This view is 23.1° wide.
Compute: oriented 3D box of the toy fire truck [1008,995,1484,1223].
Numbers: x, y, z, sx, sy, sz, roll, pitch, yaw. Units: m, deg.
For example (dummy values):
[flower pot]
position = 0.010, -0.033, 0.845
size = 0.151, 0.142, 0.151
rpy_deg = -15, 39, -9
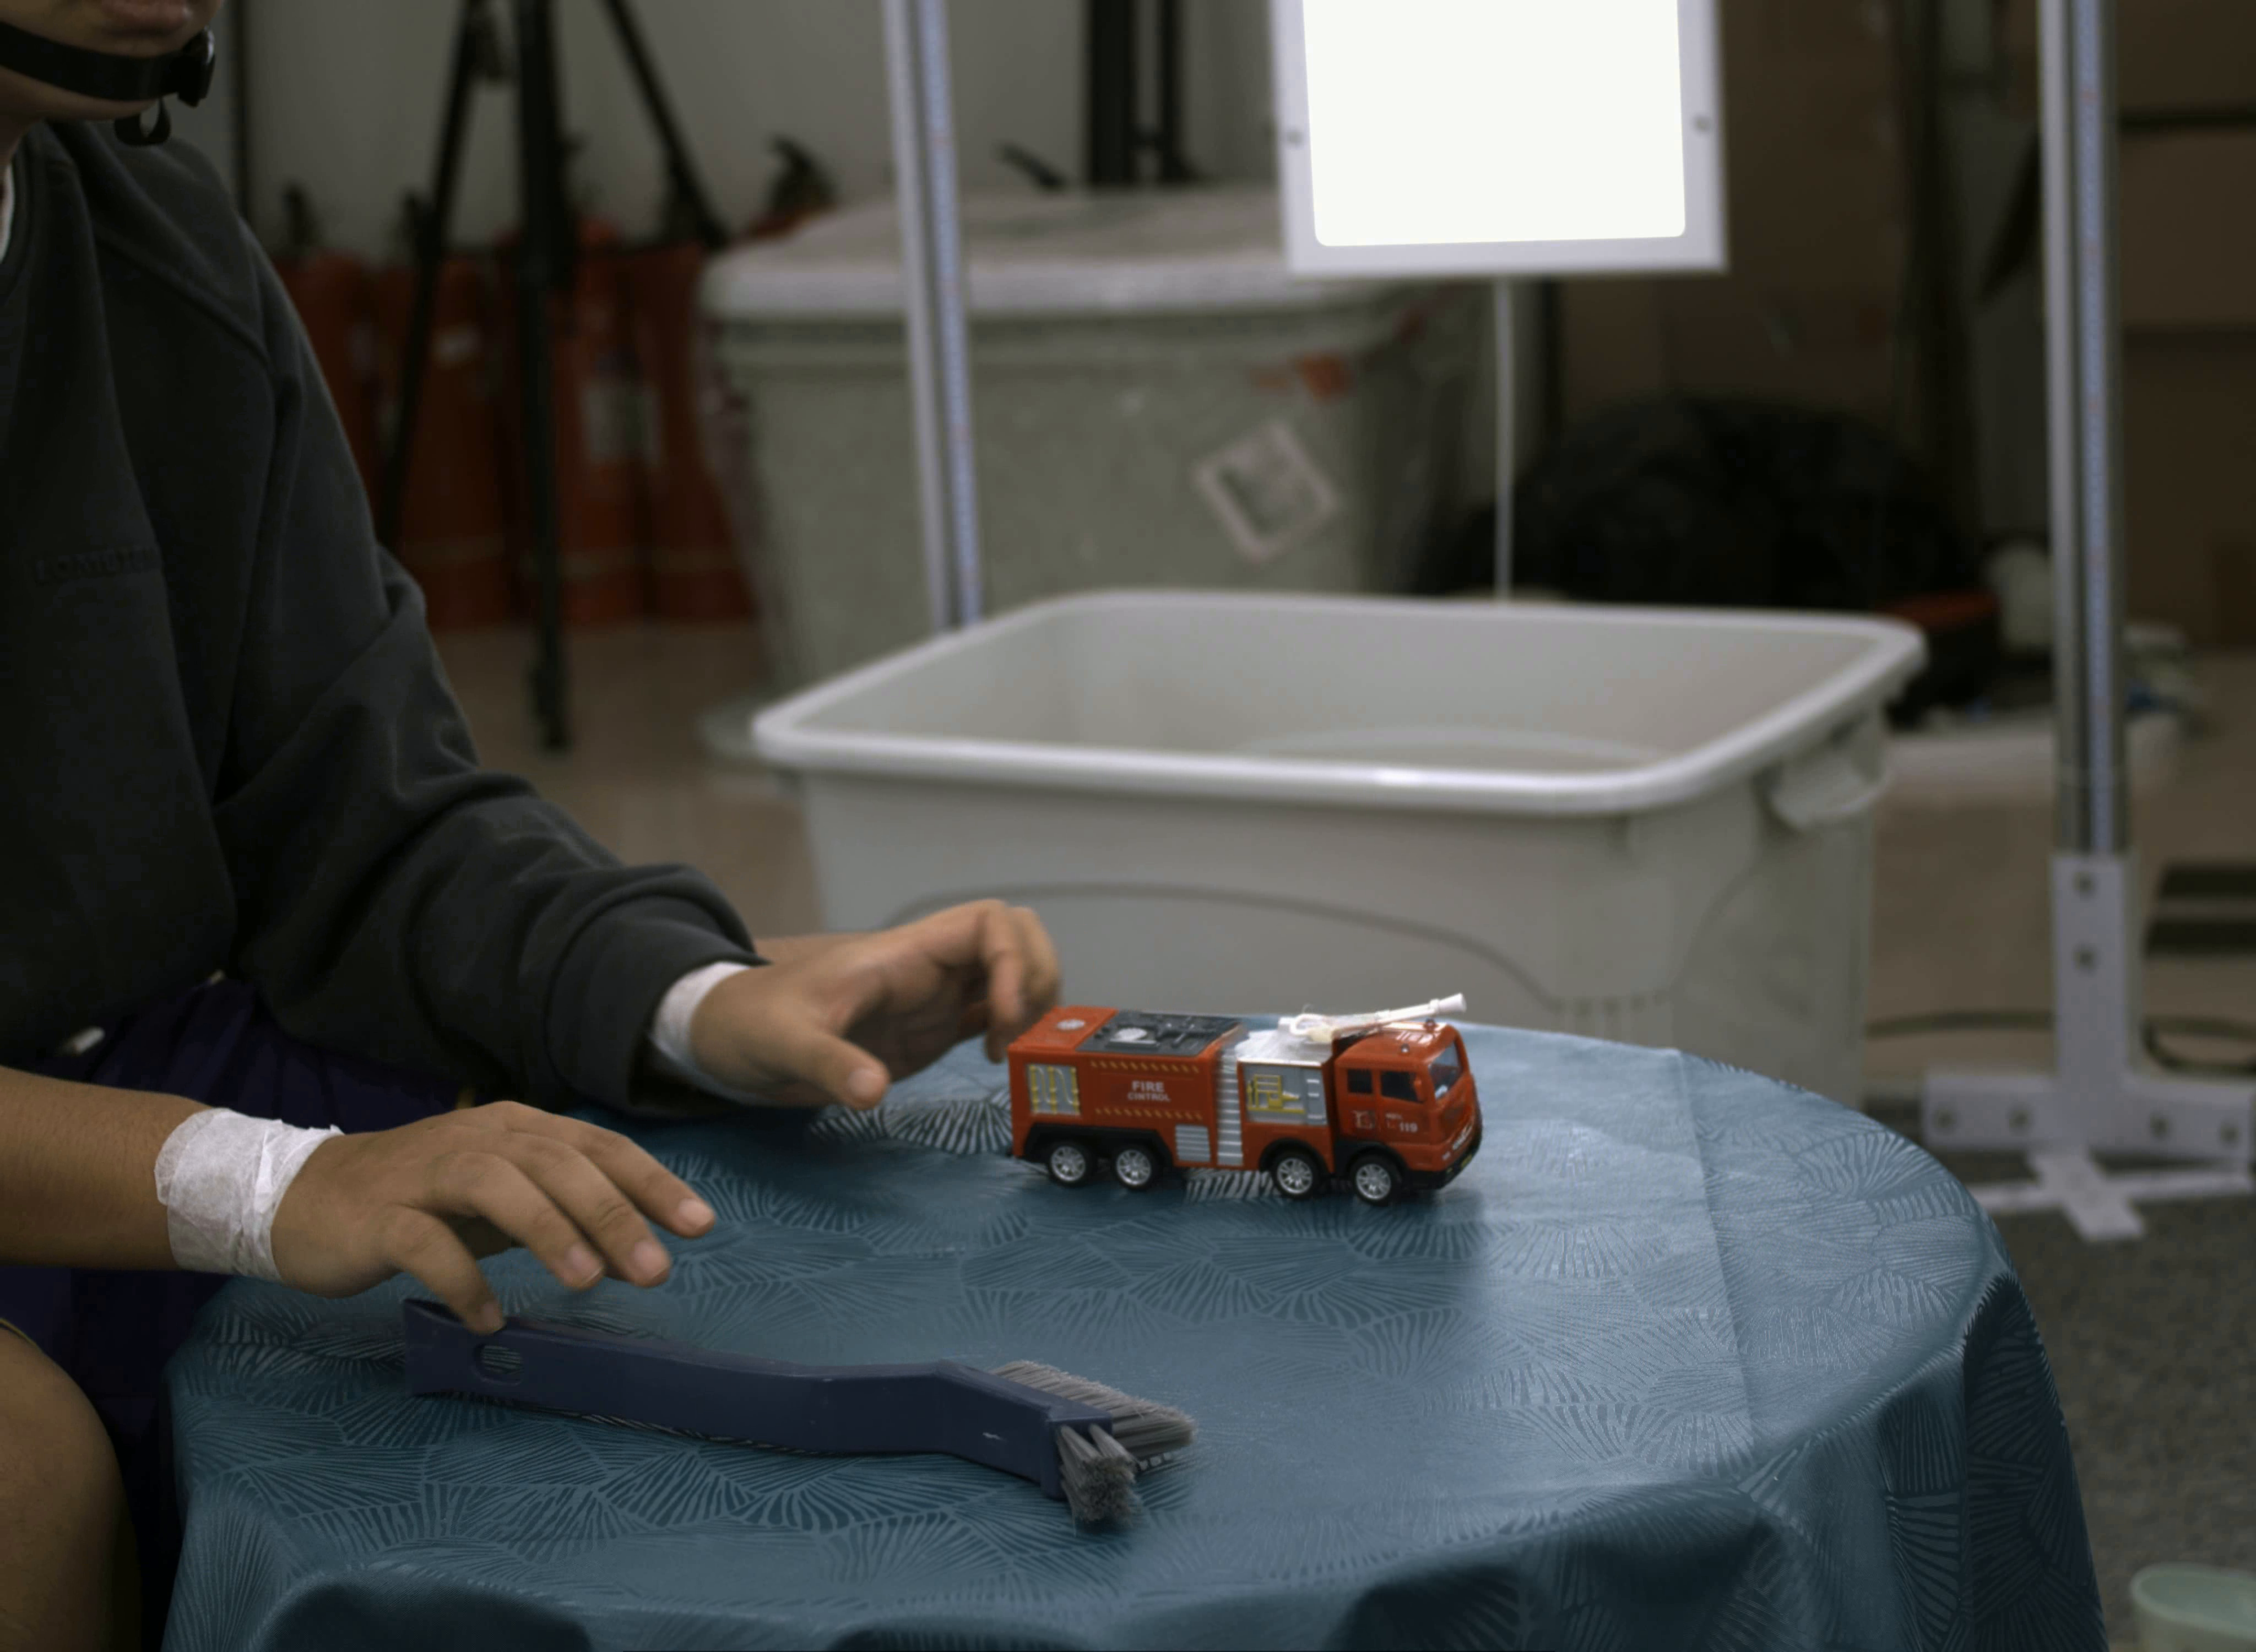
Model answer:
[toy fire truck]
position = 0.041, 0.093, 1.892
size = 0.170, 0.070, 0.053
rpy_deg = 1, 18, 25

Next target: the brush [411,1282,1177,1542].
[brush]
position = -0.114, 0.175, 1.672
size = 0.278, 0.033, 0.094
rpy_deg = 3, 15, 26
